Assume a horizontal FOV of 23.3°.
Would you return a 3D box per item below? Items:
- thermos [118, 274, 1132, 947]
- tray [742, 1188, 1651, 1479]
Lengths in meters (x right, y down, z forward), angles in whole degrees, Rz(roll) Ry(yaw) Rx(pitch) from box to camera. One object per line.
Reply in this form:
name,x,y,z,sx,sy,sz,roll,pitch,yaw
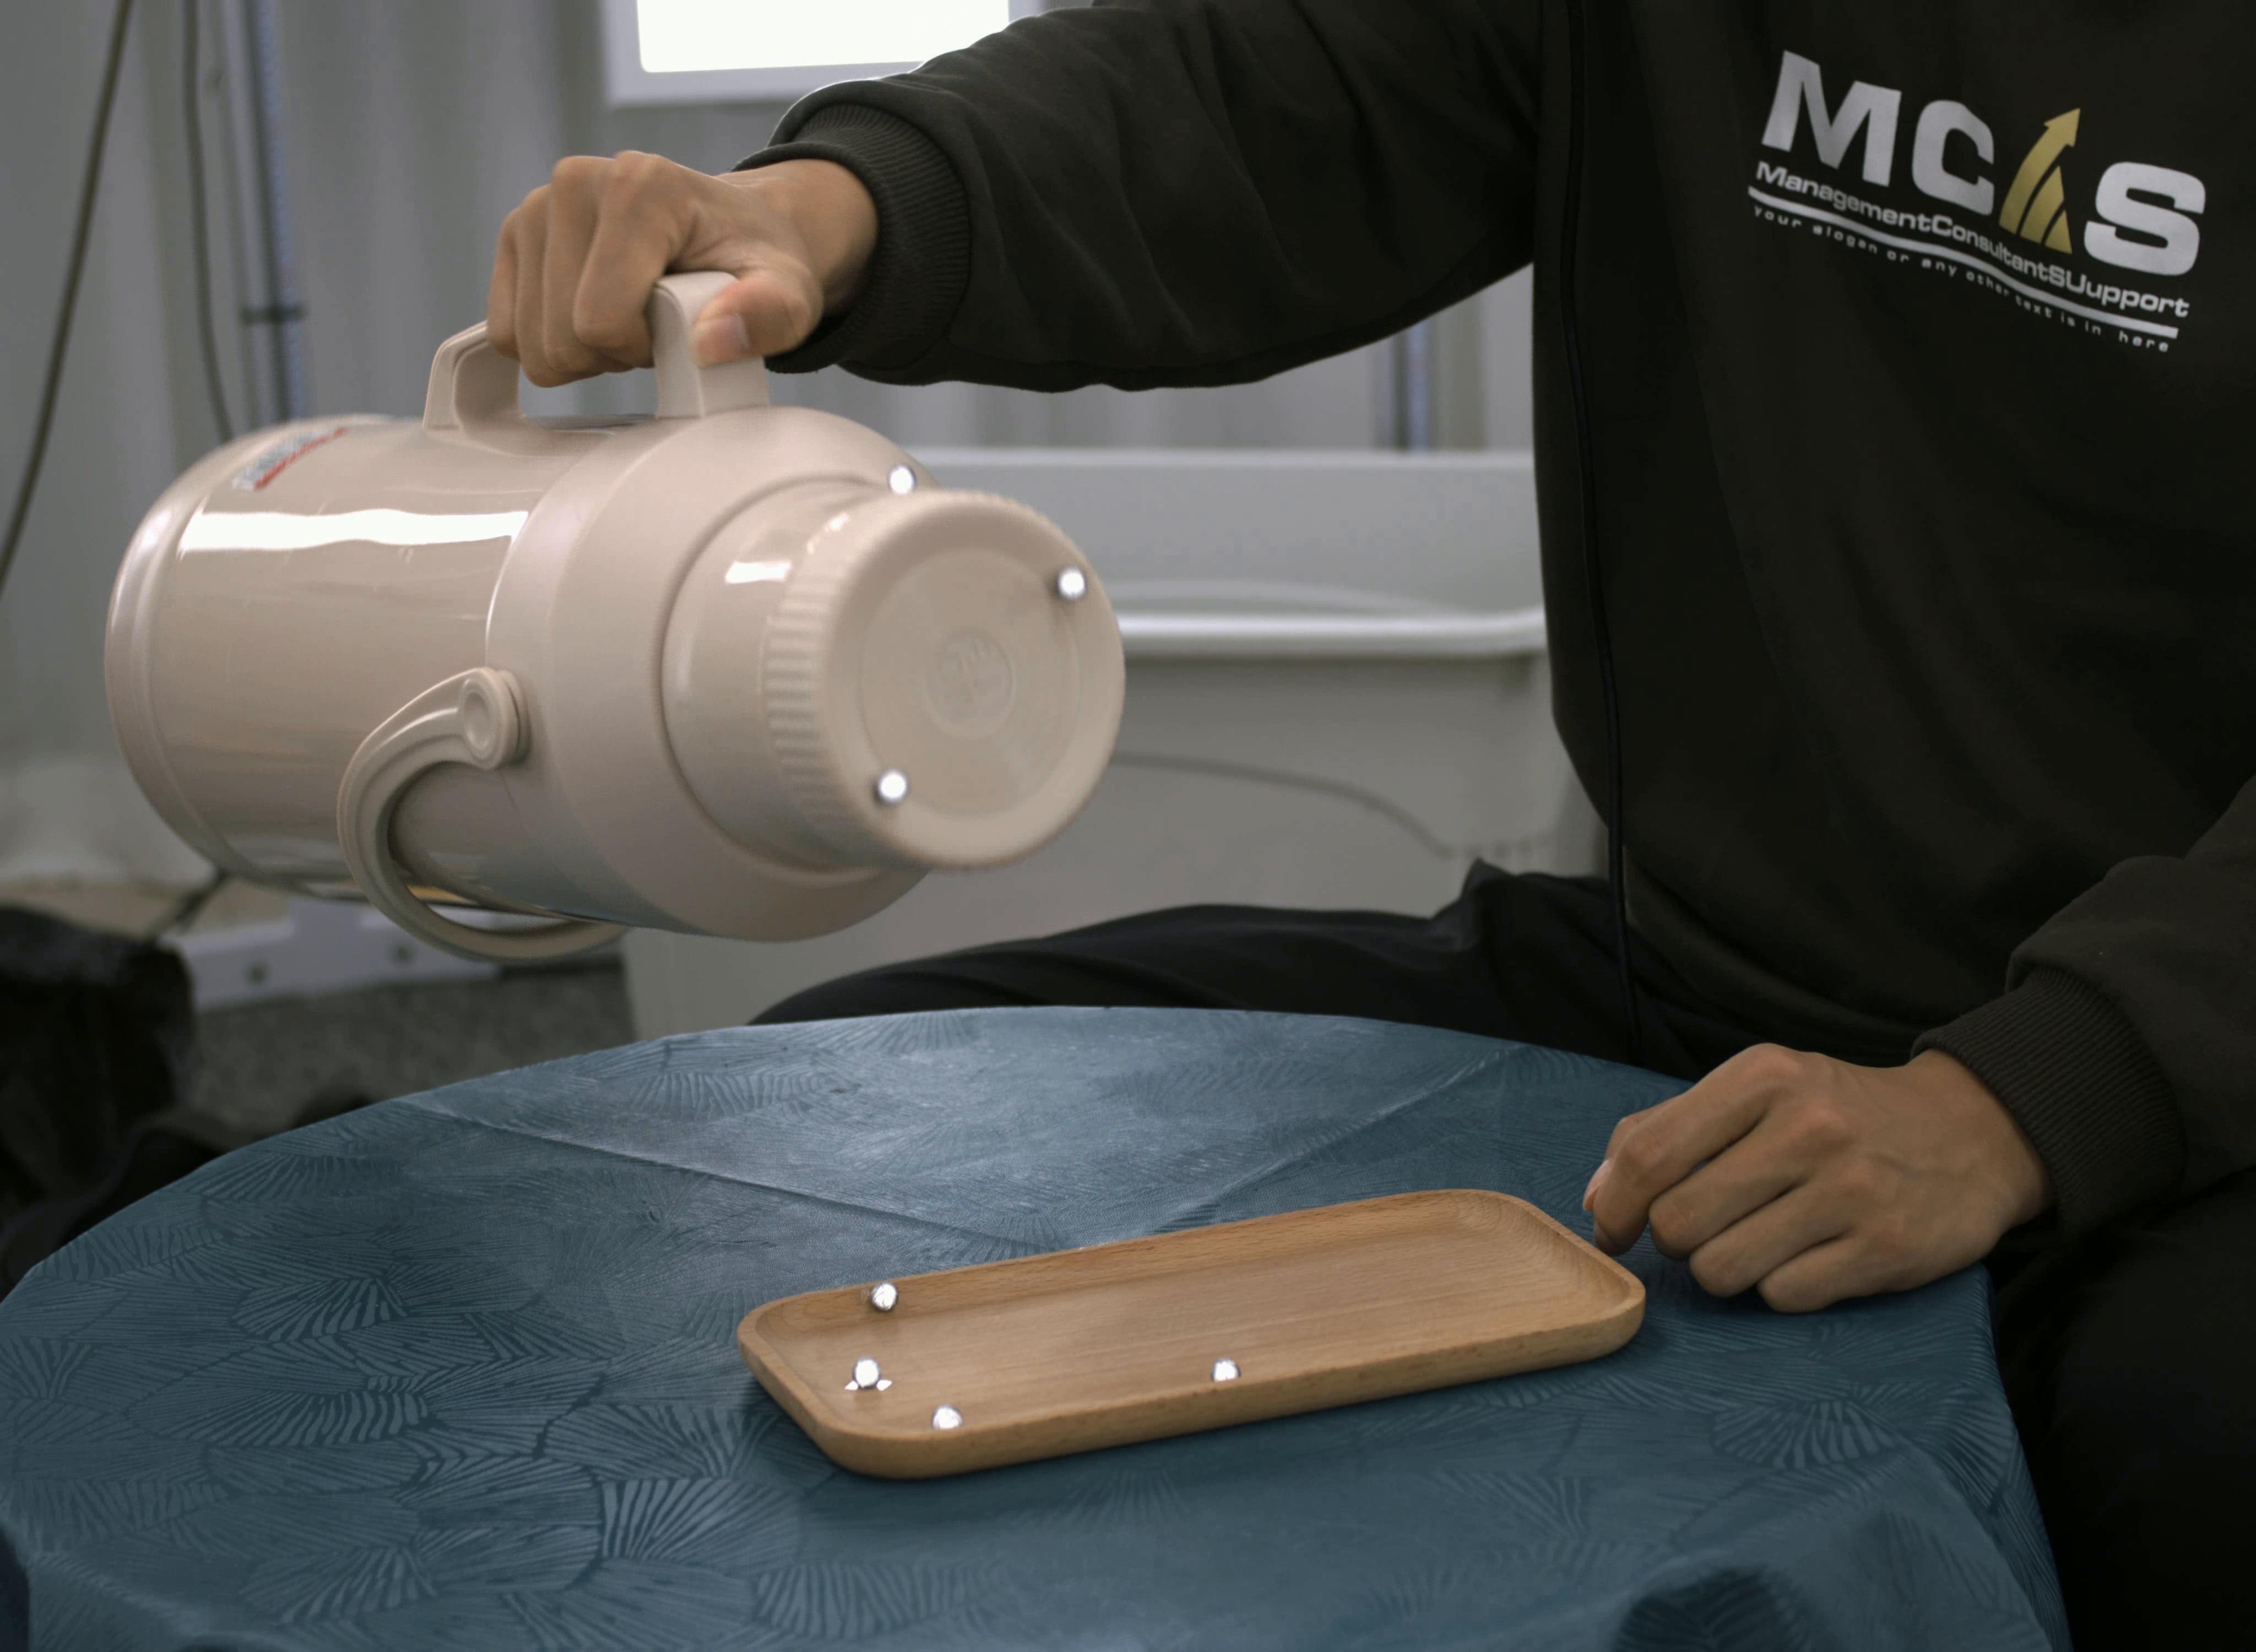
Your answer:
thermos,-0.155,-0.063,1.667,0.174,0.207,0.408,-11,10,-32
tray,0.020,0.145,1.572,0.249,0.023,0.132,-7,18,-18
